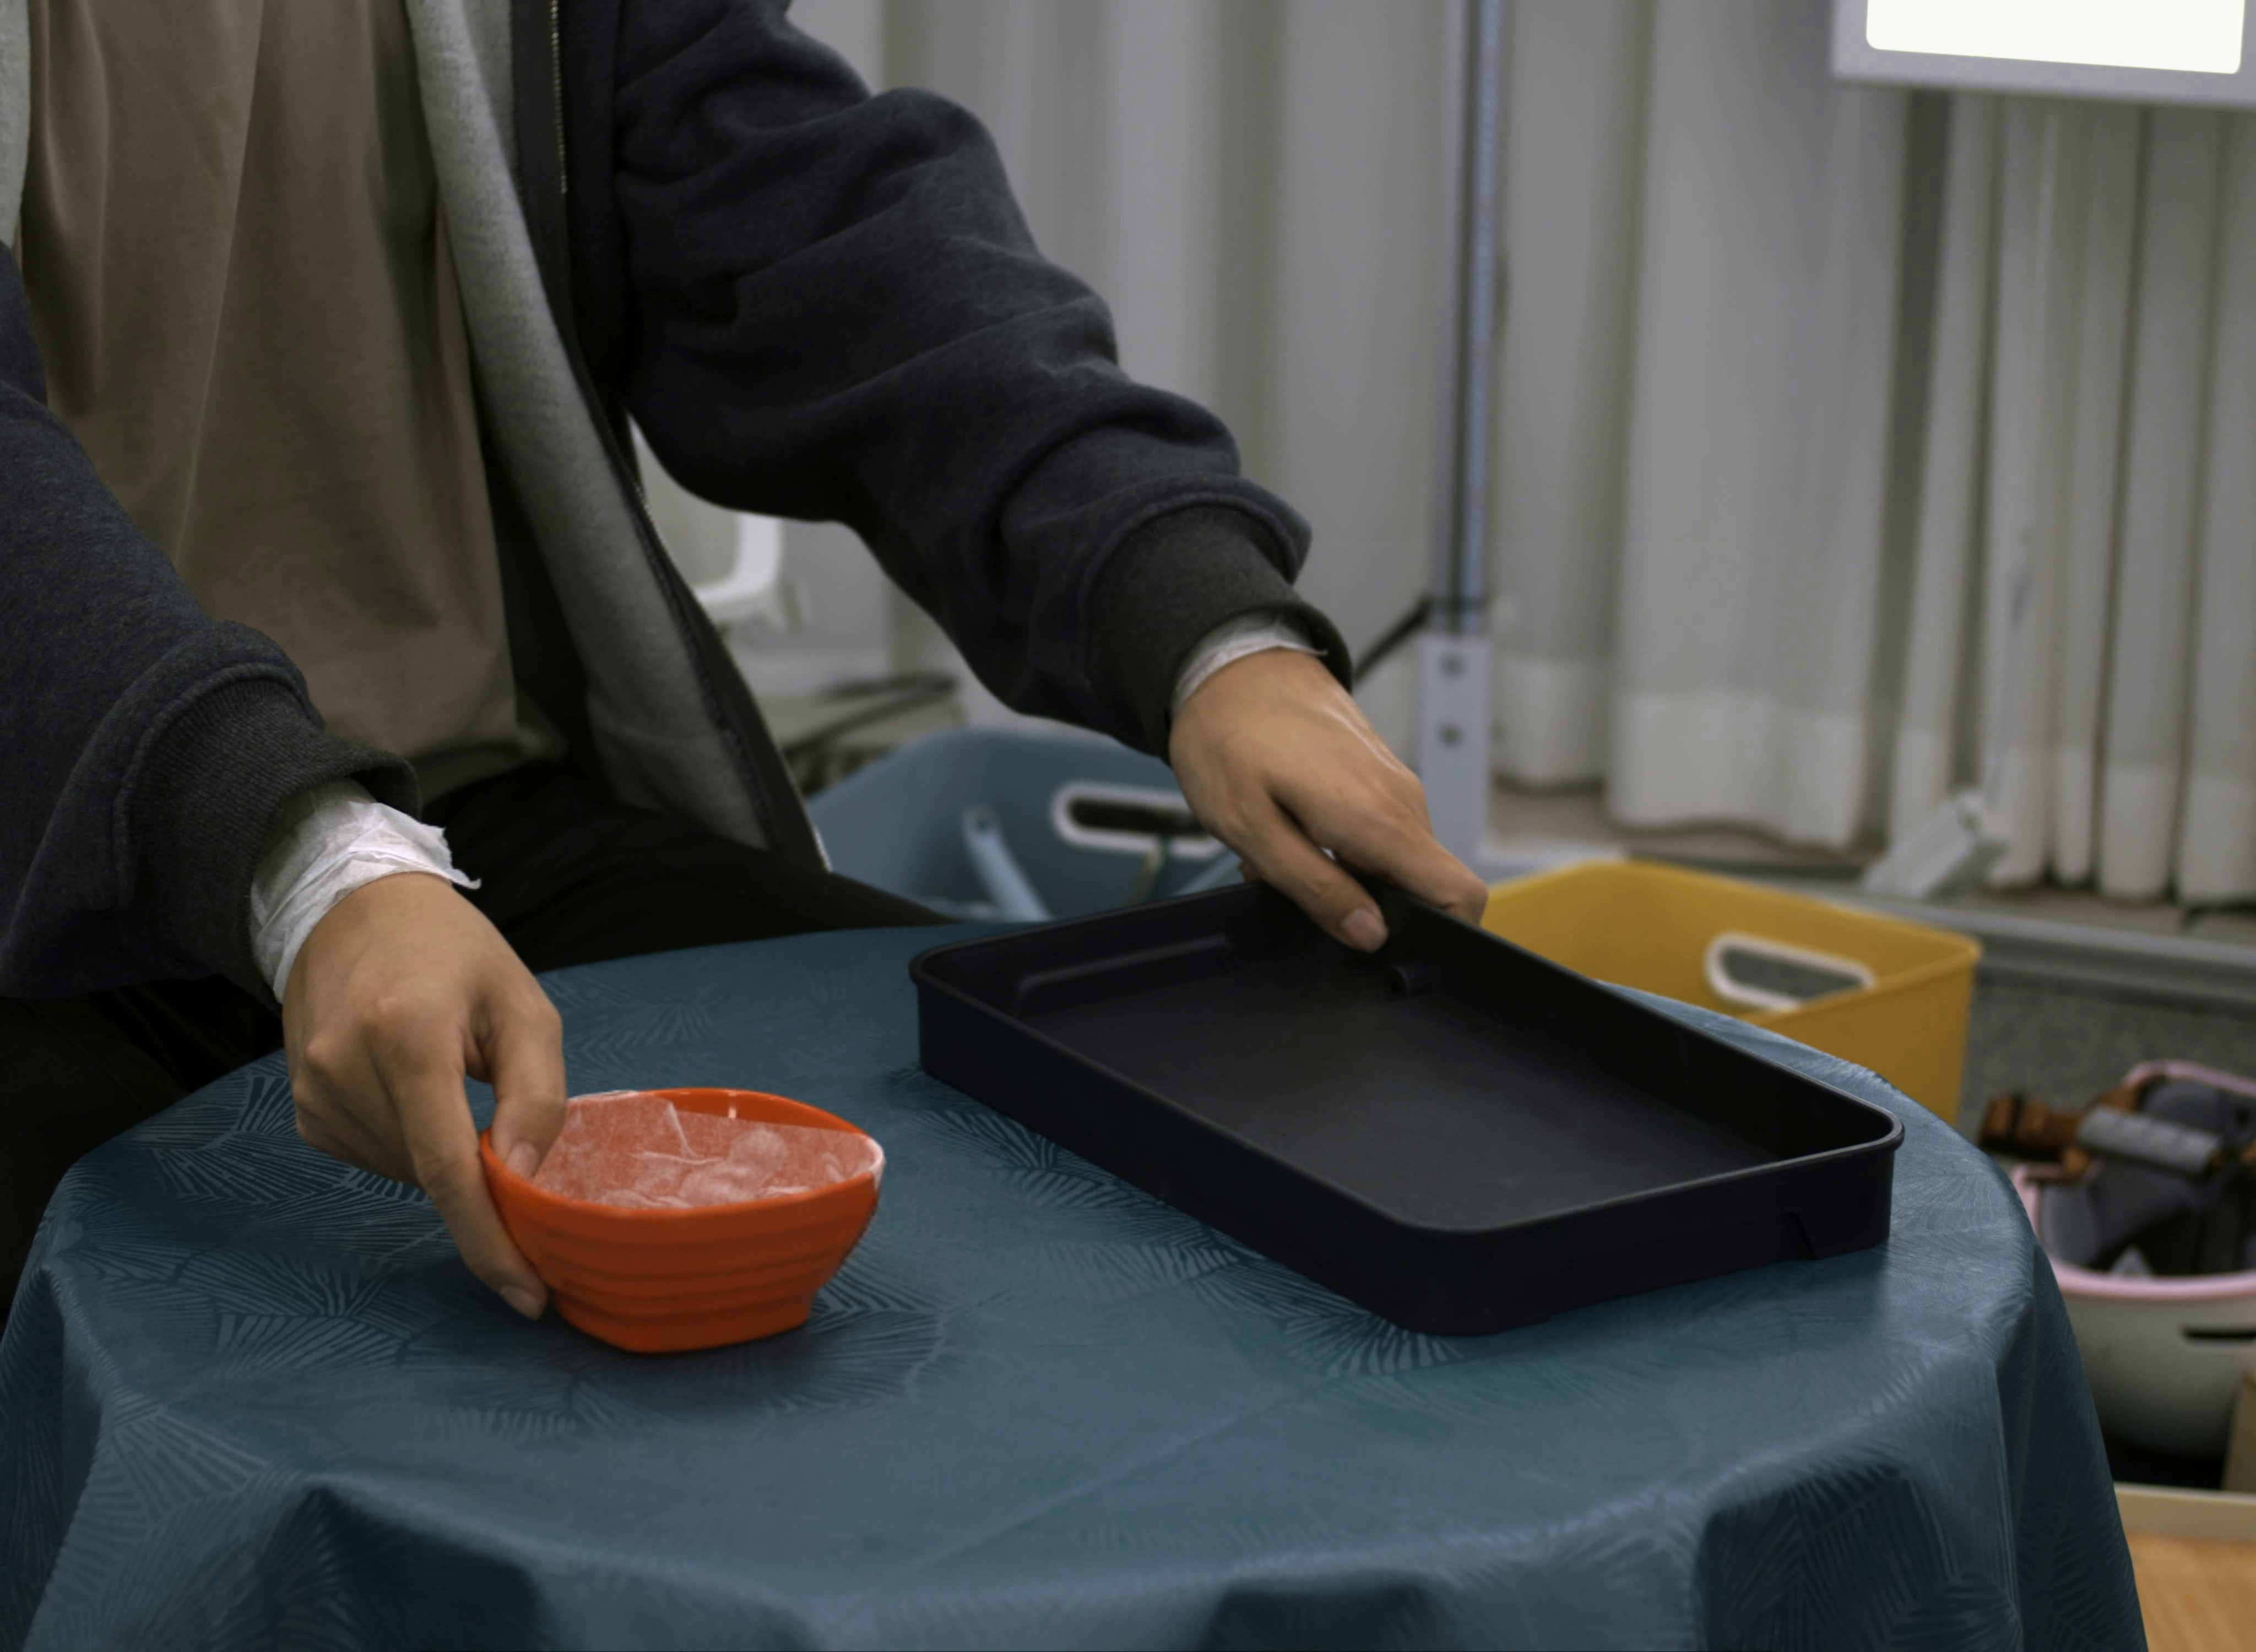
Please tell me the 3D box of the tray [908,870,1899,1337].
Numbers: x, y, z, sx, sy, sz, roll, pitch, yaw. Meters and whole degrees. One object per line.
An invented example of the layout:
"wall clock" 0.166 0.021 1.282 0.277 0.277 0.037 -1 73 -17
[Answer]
"tray" 0.080 0.081 1.663 0.185 0.037 0.314 -10 19 -31

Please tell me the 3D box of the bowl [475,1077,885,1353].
"bowl" -0.129 0.113 1.509 0.118 0.052 0.118 2 16 0
